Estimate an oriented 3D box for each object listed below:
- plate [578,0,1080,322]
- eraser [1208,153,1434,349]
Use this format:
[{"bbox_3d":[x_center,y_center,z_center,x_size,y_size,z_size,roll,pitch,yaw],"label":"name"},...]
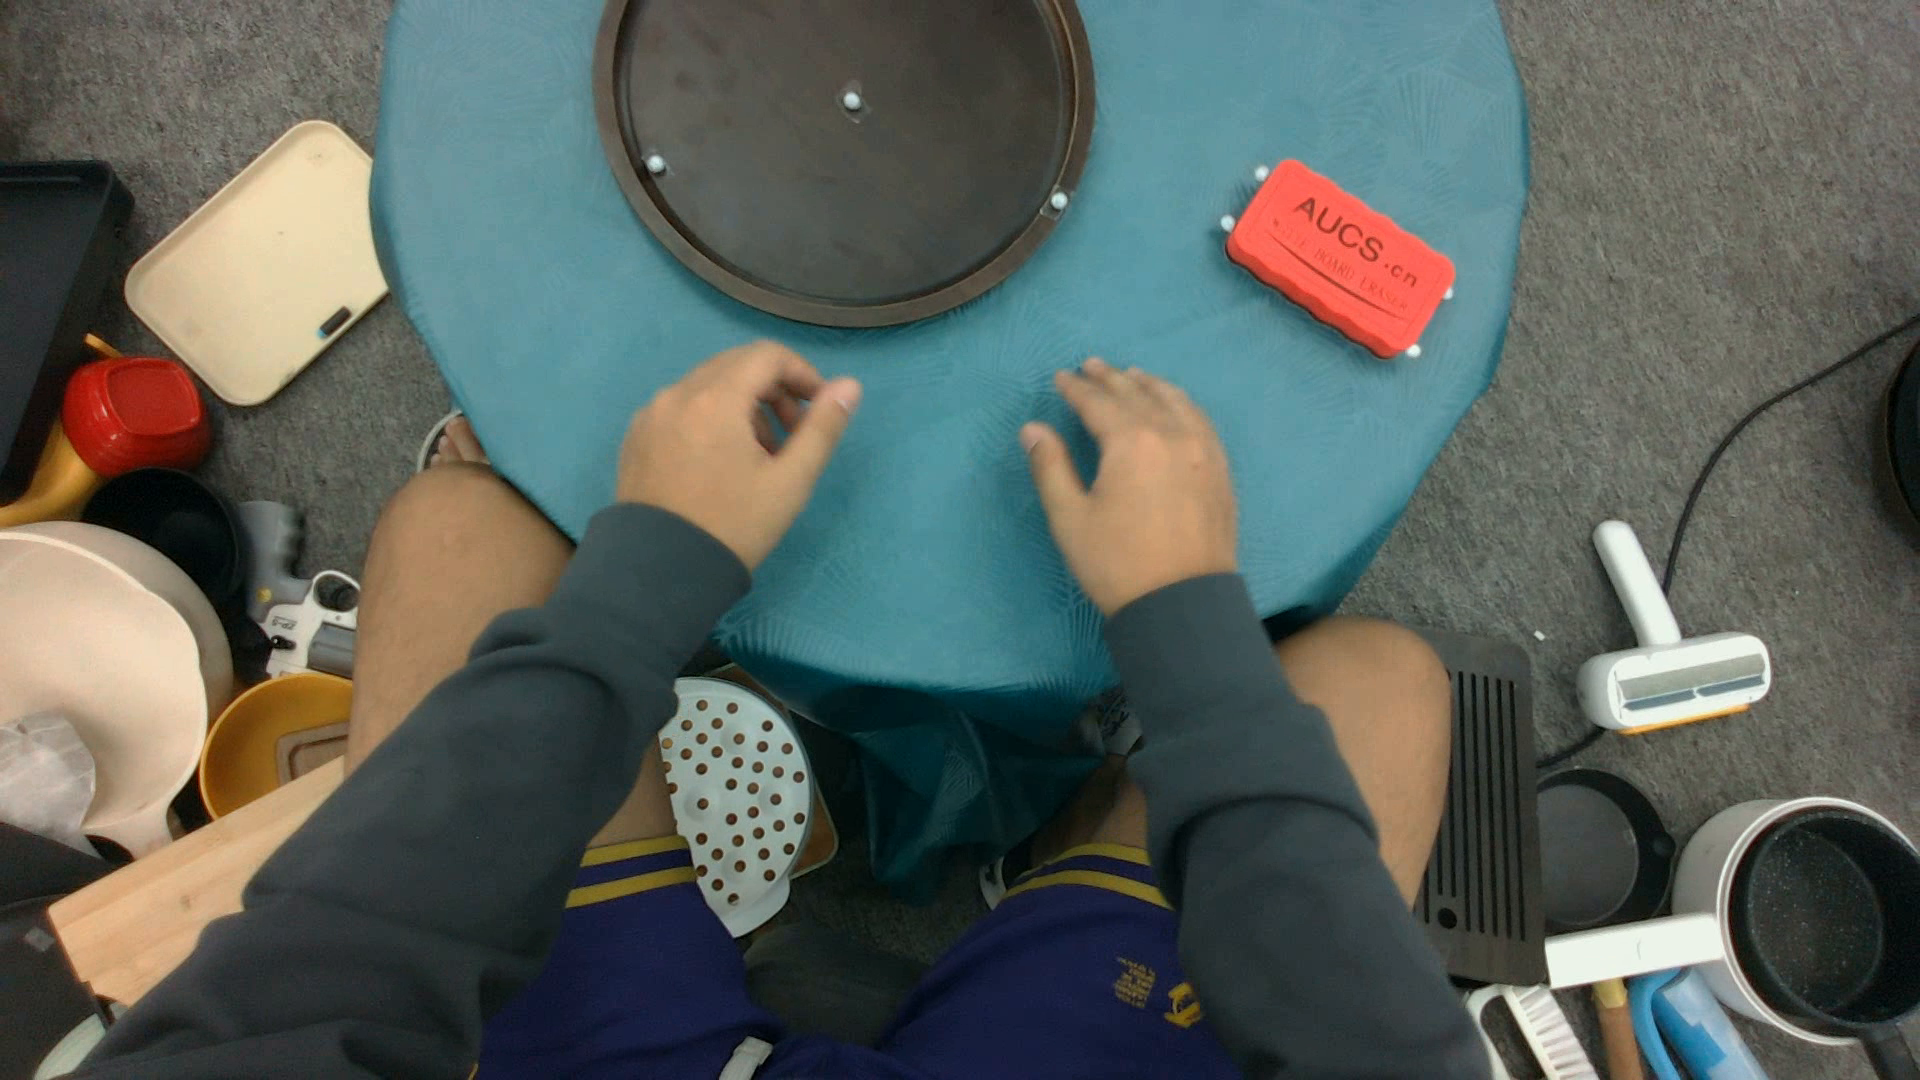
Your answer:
[{"bbox_3d":[-0.065,-0.231,0.705,0.255,0.029,0.255,1,81,-7],"label":"plate"},{"bbox_3d":[0.187,-0.150,0.715,0.108,0.023,0.059,33,79,-2],"label":"eraser"}]
